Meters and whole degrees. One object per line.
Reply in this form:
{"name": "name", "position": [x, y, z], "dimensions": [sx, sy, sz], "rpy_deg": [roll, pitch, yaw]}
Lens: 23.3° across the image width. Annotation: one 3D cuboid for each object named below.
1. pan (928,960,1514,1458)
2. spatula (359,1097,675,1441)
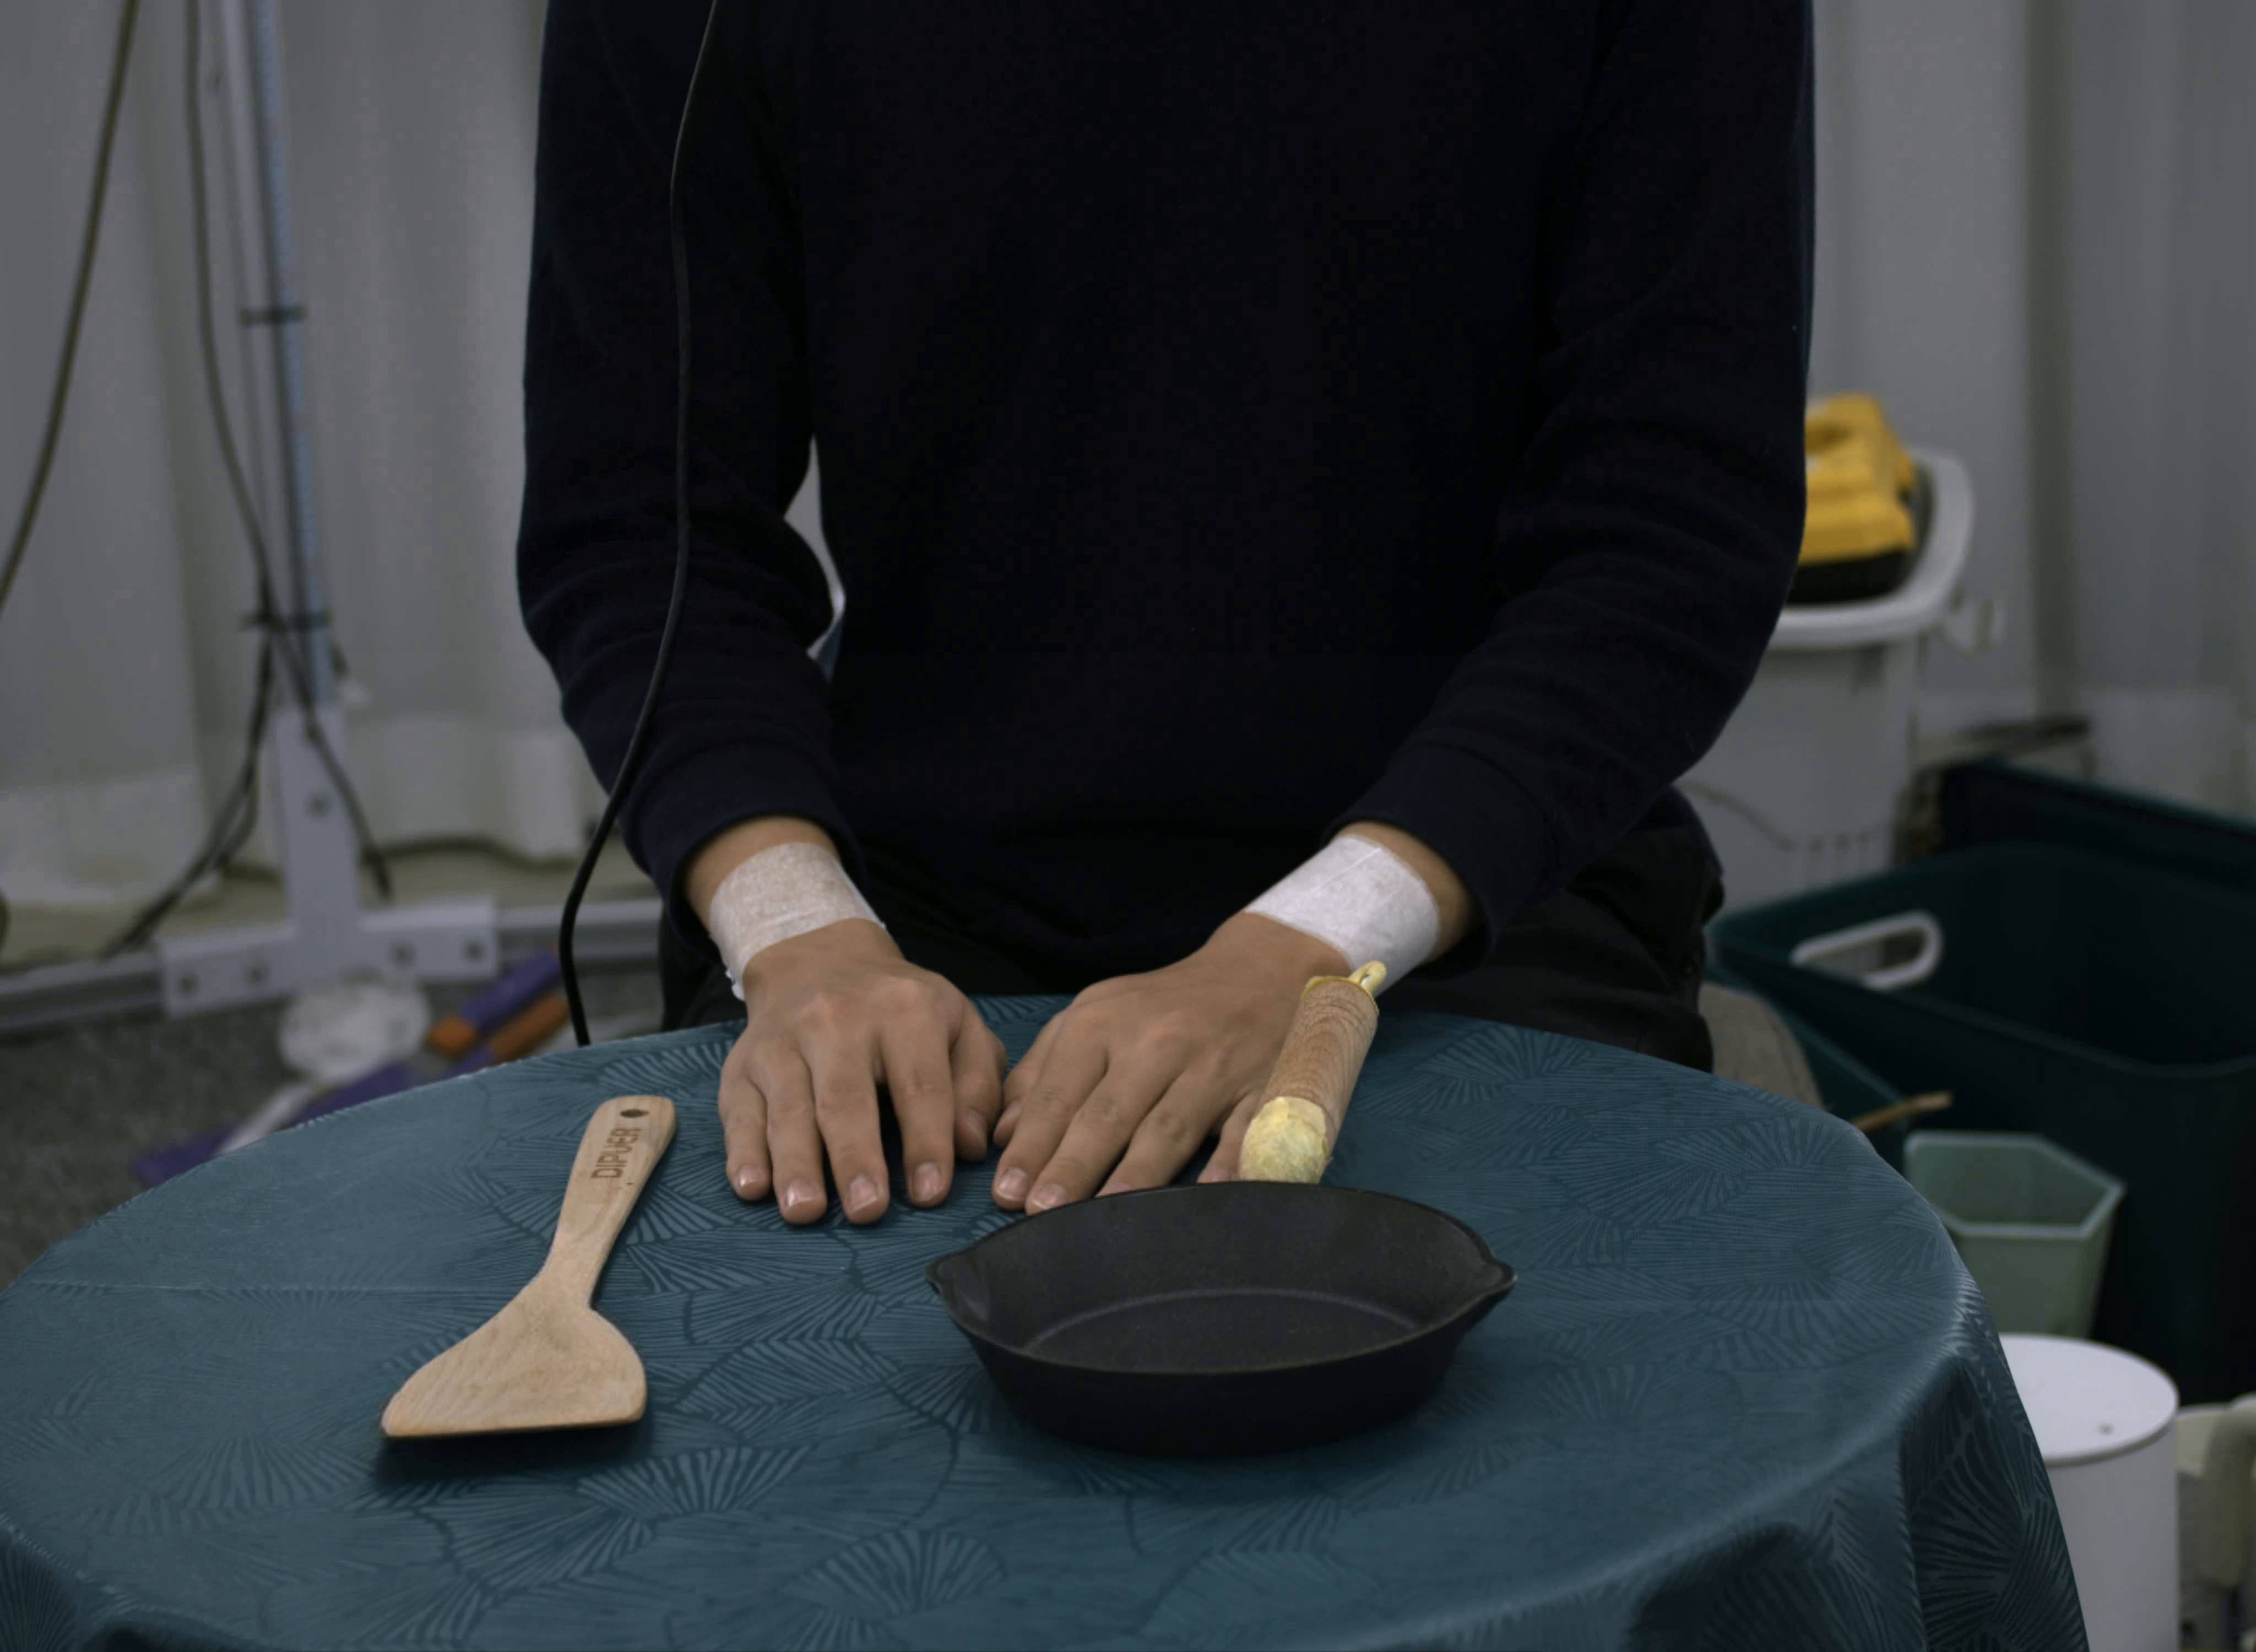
{"name": "pan", "position": [0.044, 0.110, 1.626], "dimensions": [0.169, 0.049, 0.326], "rpy_deg": [0, 17, 13]}
{"name": "spatula", "position": [-0.167, 0.131, 1.656], "dimensions": [0.080, 0.016, 0.330], "rpy_deg": [-1, 15, 3]}
